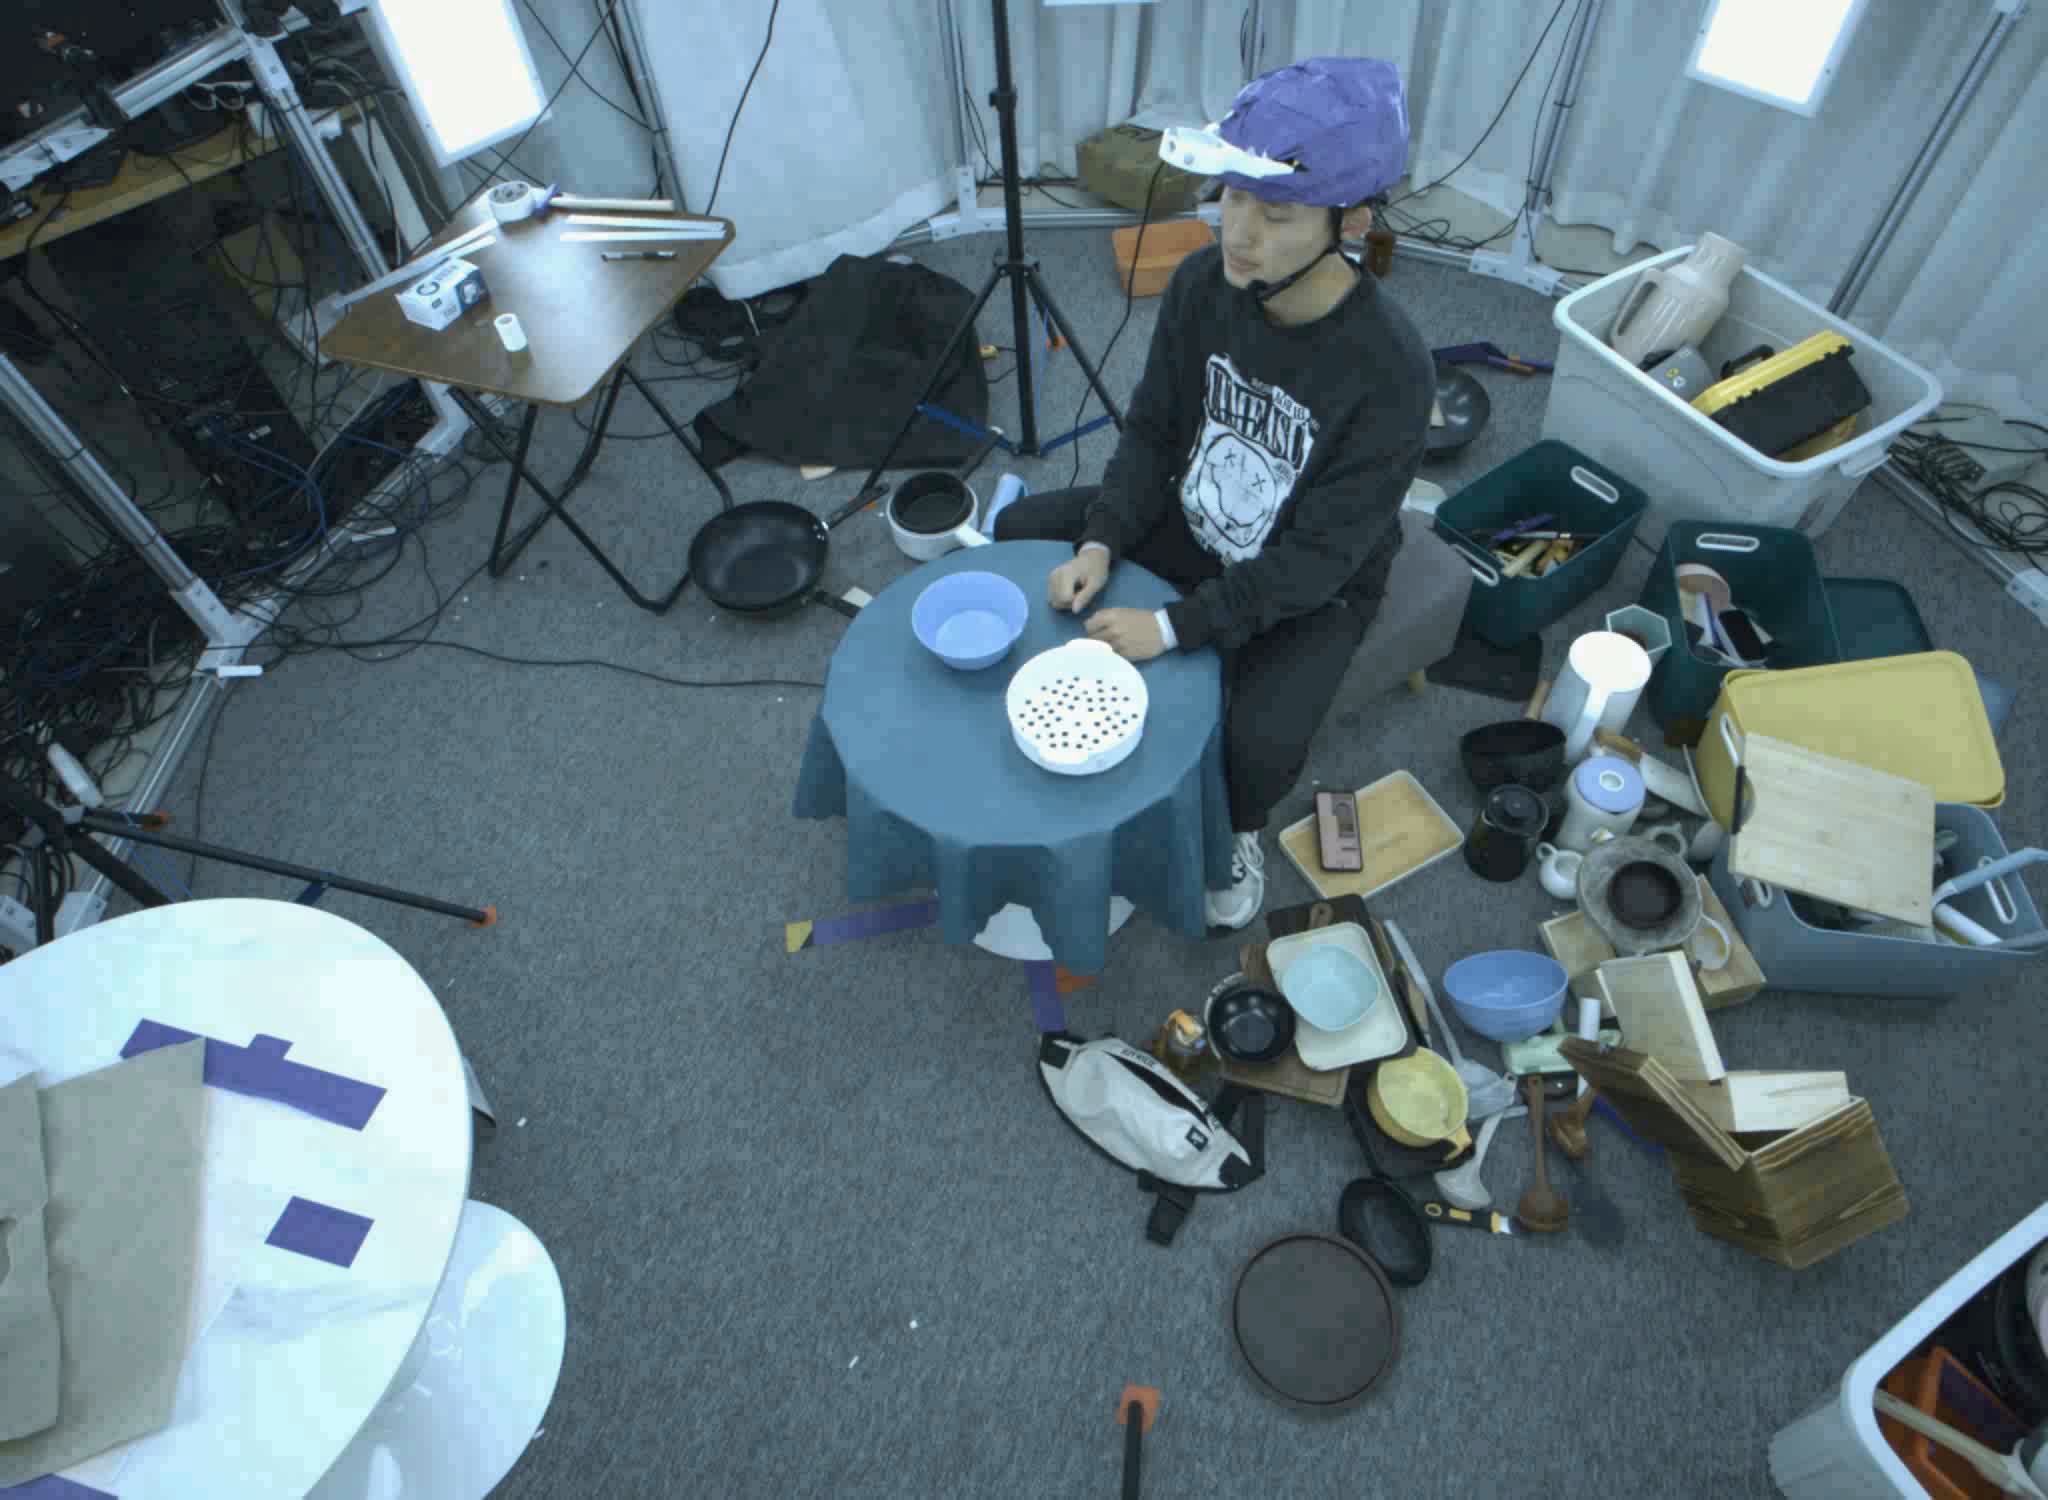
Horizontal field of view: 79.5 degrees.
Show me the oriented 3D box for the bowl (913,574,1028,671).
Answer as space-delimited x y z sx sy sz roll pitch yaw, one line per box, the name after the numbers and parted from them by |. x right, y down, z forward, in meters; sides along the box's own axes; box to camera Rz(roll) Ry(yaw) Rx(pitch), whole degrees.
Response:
-0.080 -0.186 1.887 0.176 0.071 0.174 0 56 1 | bowl

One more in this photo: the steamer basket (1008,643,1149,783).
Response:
0.080 -0.048 1.787 0.201 0.070 0.229 8 58 8 | steamer basket
